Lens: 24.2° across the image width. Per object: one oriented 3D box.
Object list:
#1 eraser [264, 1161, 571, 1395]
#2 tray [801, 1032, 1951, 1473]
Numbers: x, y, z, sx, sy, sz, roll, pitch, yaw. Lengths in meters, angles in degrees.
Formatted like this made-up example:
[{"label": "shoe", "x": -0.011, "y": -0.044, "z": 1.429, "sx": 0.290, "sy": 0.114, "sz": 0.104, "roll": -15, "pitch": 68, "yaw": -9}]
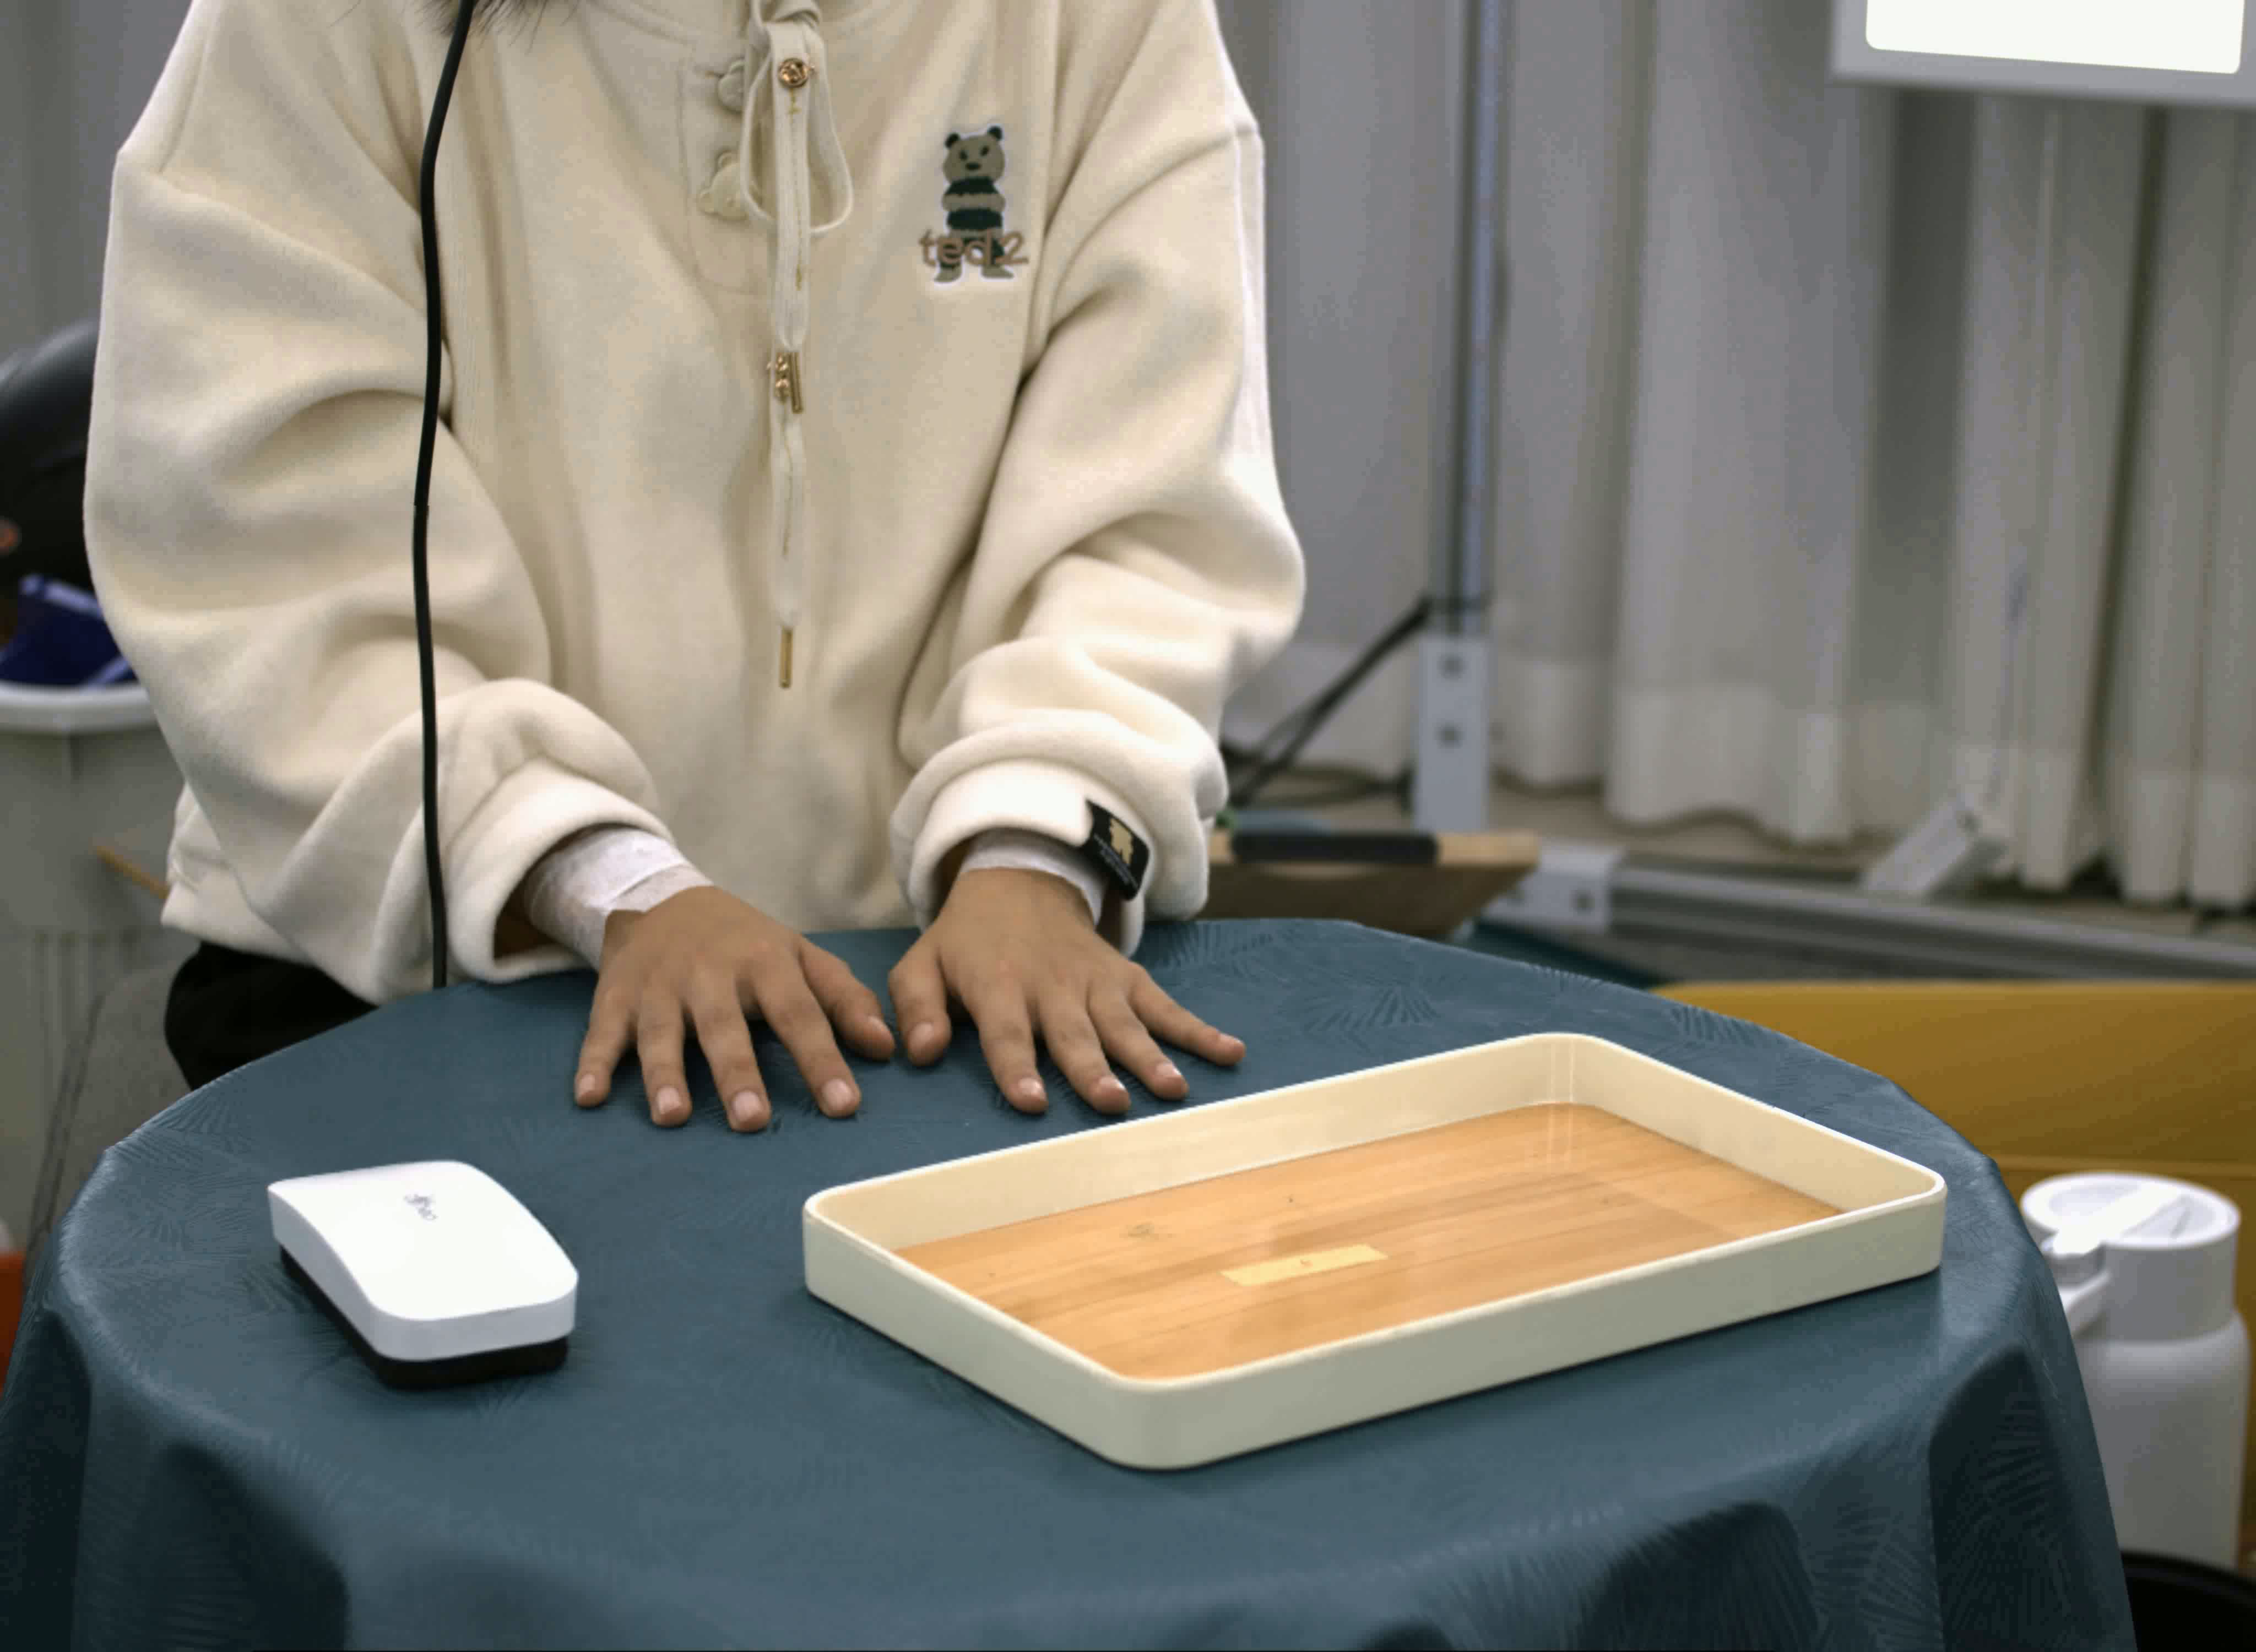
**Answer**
[{"label": "eraser", "x": -0.204, "y": 0.125, "z": 1.512, "sx": 0.063, "sy": 0.035, "sz": 0.130, "roll": -6, "pitch": 18, "yaw": -23}, {"label": "tray", "x": 0.074, "y": 0.120, "z": 1.545, "sx": 0.302, "sy": 0.027, "sz": 0.189, "roll": -10, "pitch": 19, "yaw": -33}]
